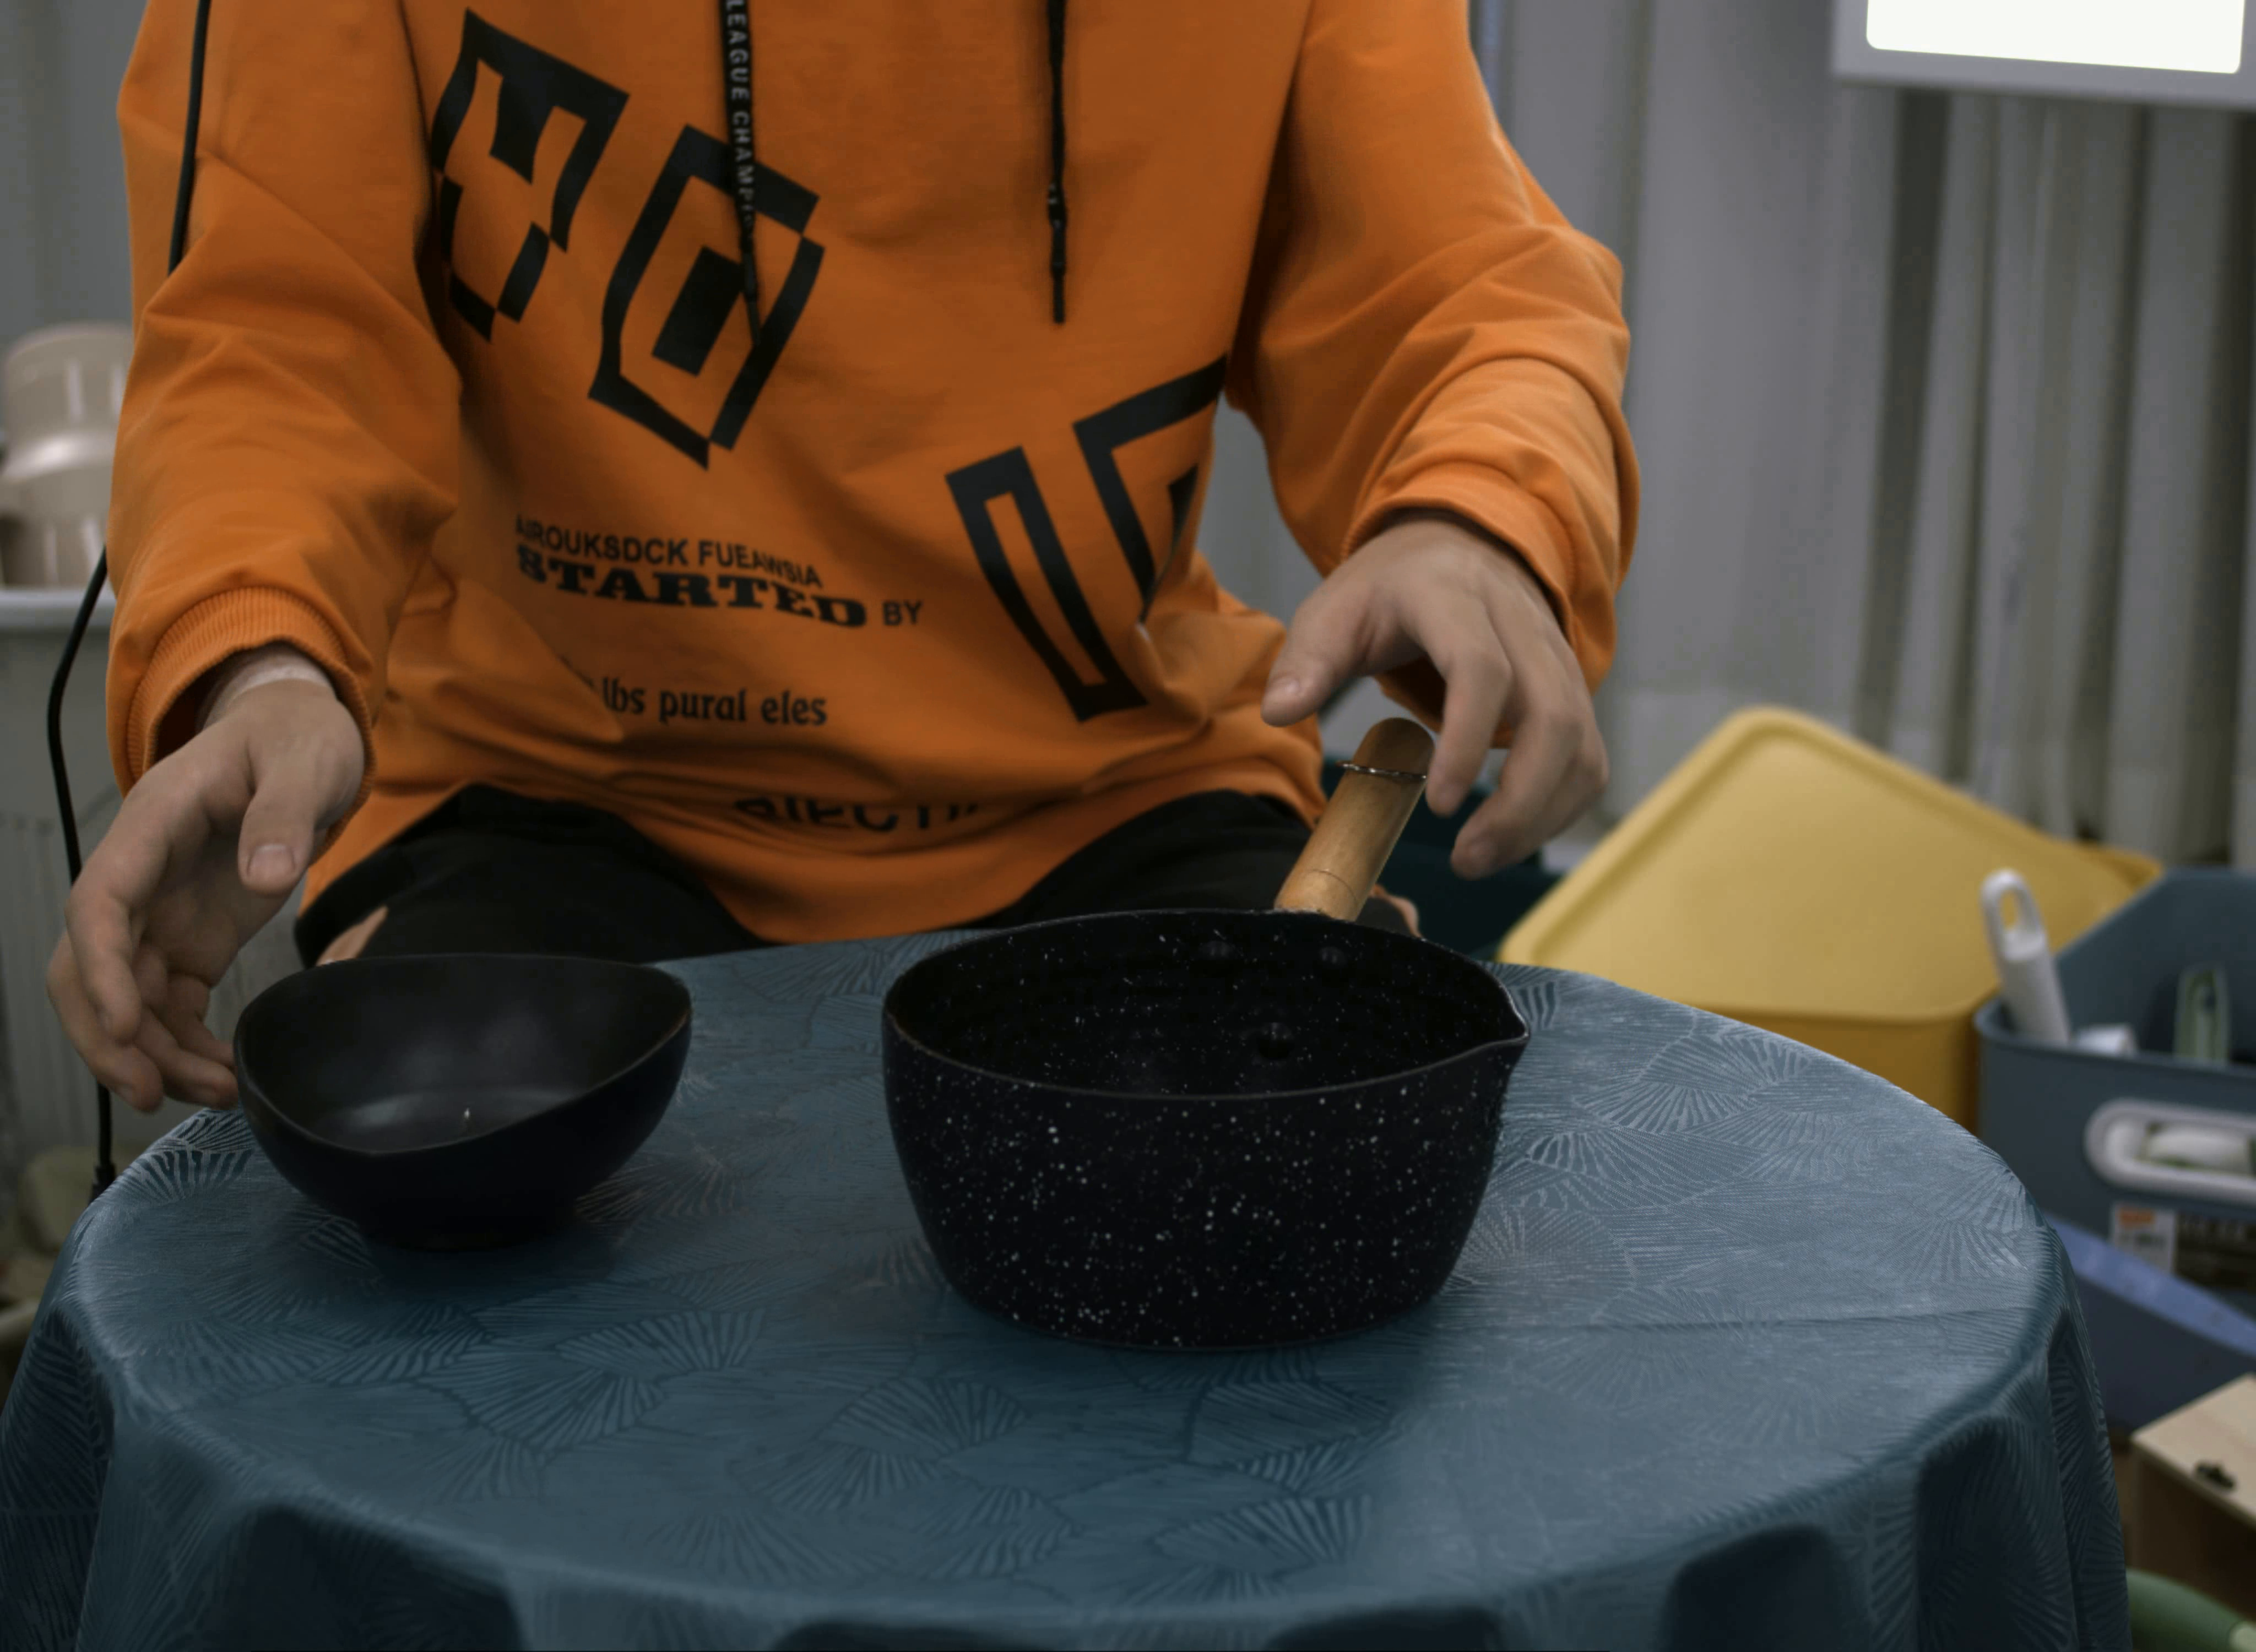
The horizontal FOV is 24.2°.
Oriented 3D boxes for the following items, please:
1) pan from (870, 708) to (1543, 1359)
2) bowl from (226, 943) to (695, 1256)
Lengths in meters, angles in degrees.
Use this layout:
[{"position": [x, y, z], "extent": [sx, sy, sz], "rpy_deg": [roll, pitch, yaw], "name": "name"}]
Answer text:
[{"position": [0.042, 0.058, 1.617], "extent": [0.206, 0.109, 0.342], "rpy_deg": [3, 17, 16], "name": "pan"}, {"position": [-0.200, 0.087, 1.589], "extent": [0.136, 0.067, 0.170], "rpy_deg": [2, 18, 8], "name": "bowl"}]
